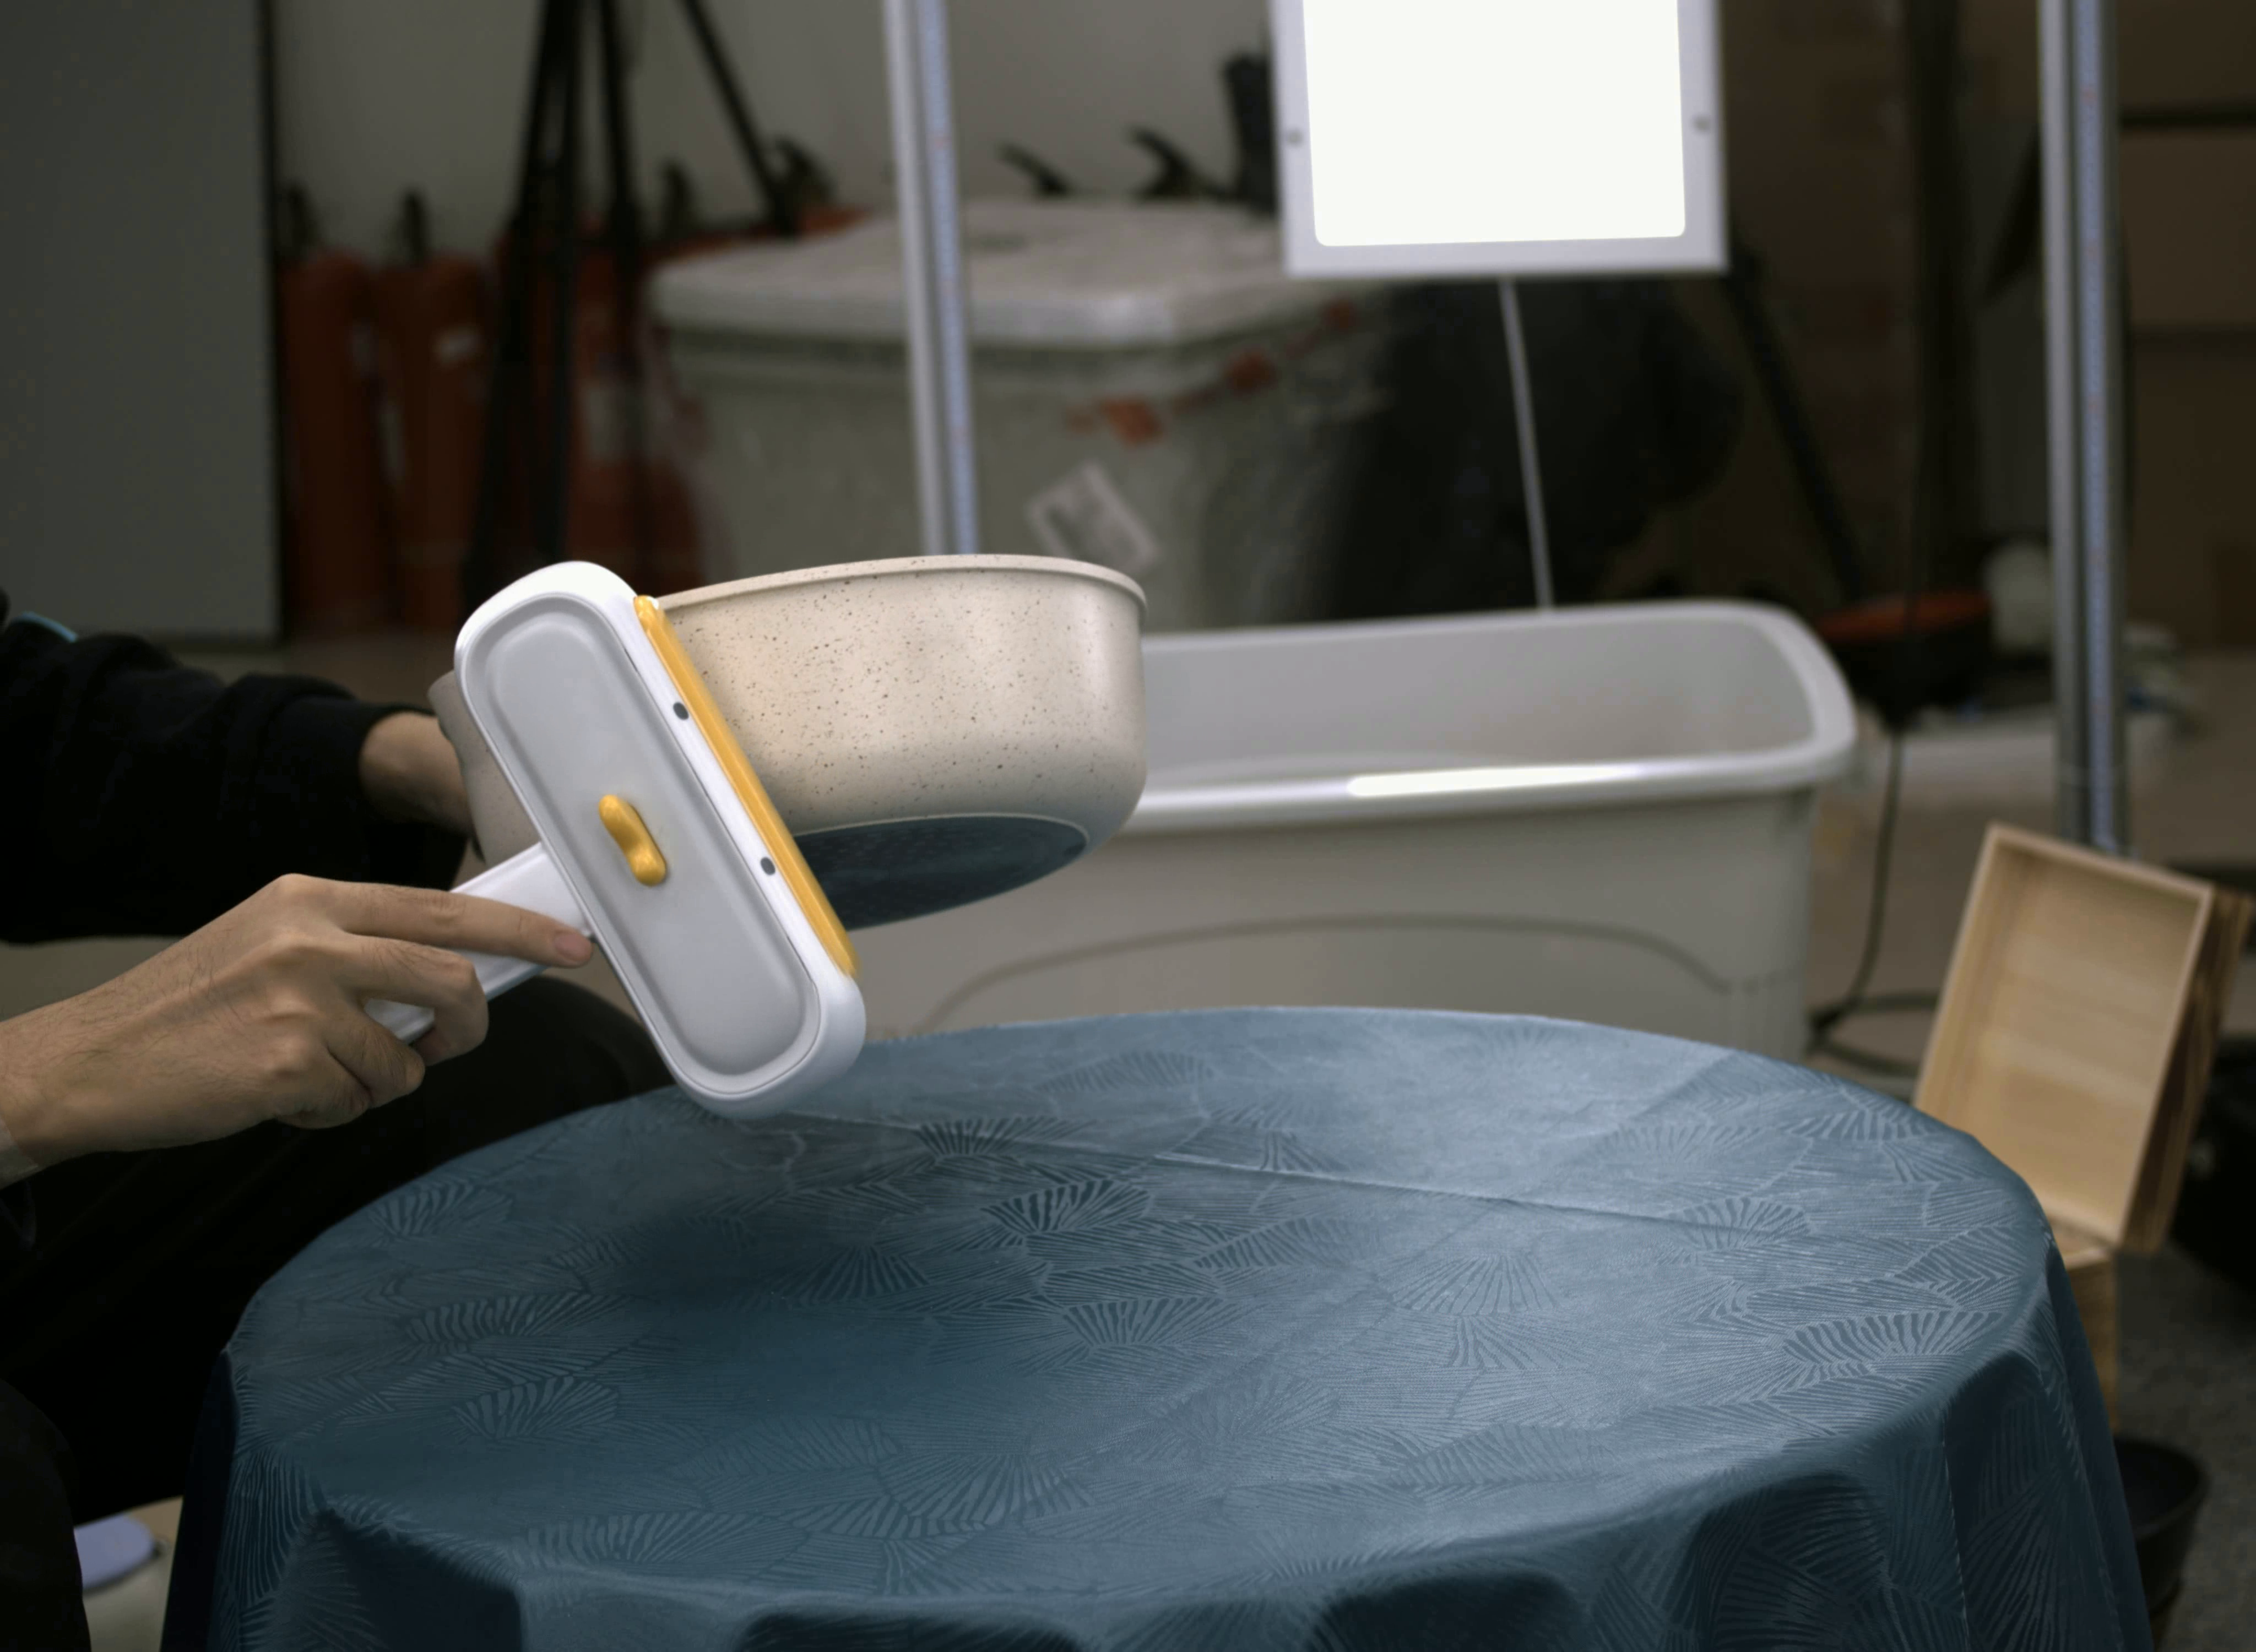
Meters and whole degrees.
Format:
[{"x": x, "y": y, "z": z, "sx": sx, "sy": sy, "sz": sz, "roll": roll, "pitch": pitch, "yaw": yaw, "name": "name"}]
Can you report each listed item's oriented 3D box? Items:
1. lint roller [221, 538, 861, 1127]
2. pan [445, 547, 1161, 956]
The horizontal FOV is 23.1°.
[{"x": -0.204, "y": 0.030, "z": 1.773, "sx": 0.192, "sy": 0.193, "sz": 0.074, "roll": -33, "pitch": 1, "yaw": 0, "name": "lint roller"}, {"x": -0.147, "y": -0.002, "z": 1.998, "sx": 0.257, "sy": 0.102, "sz": 0.443, "roll": -6, "pitch": -12, "yaw": -27, "name": "pan"}]
